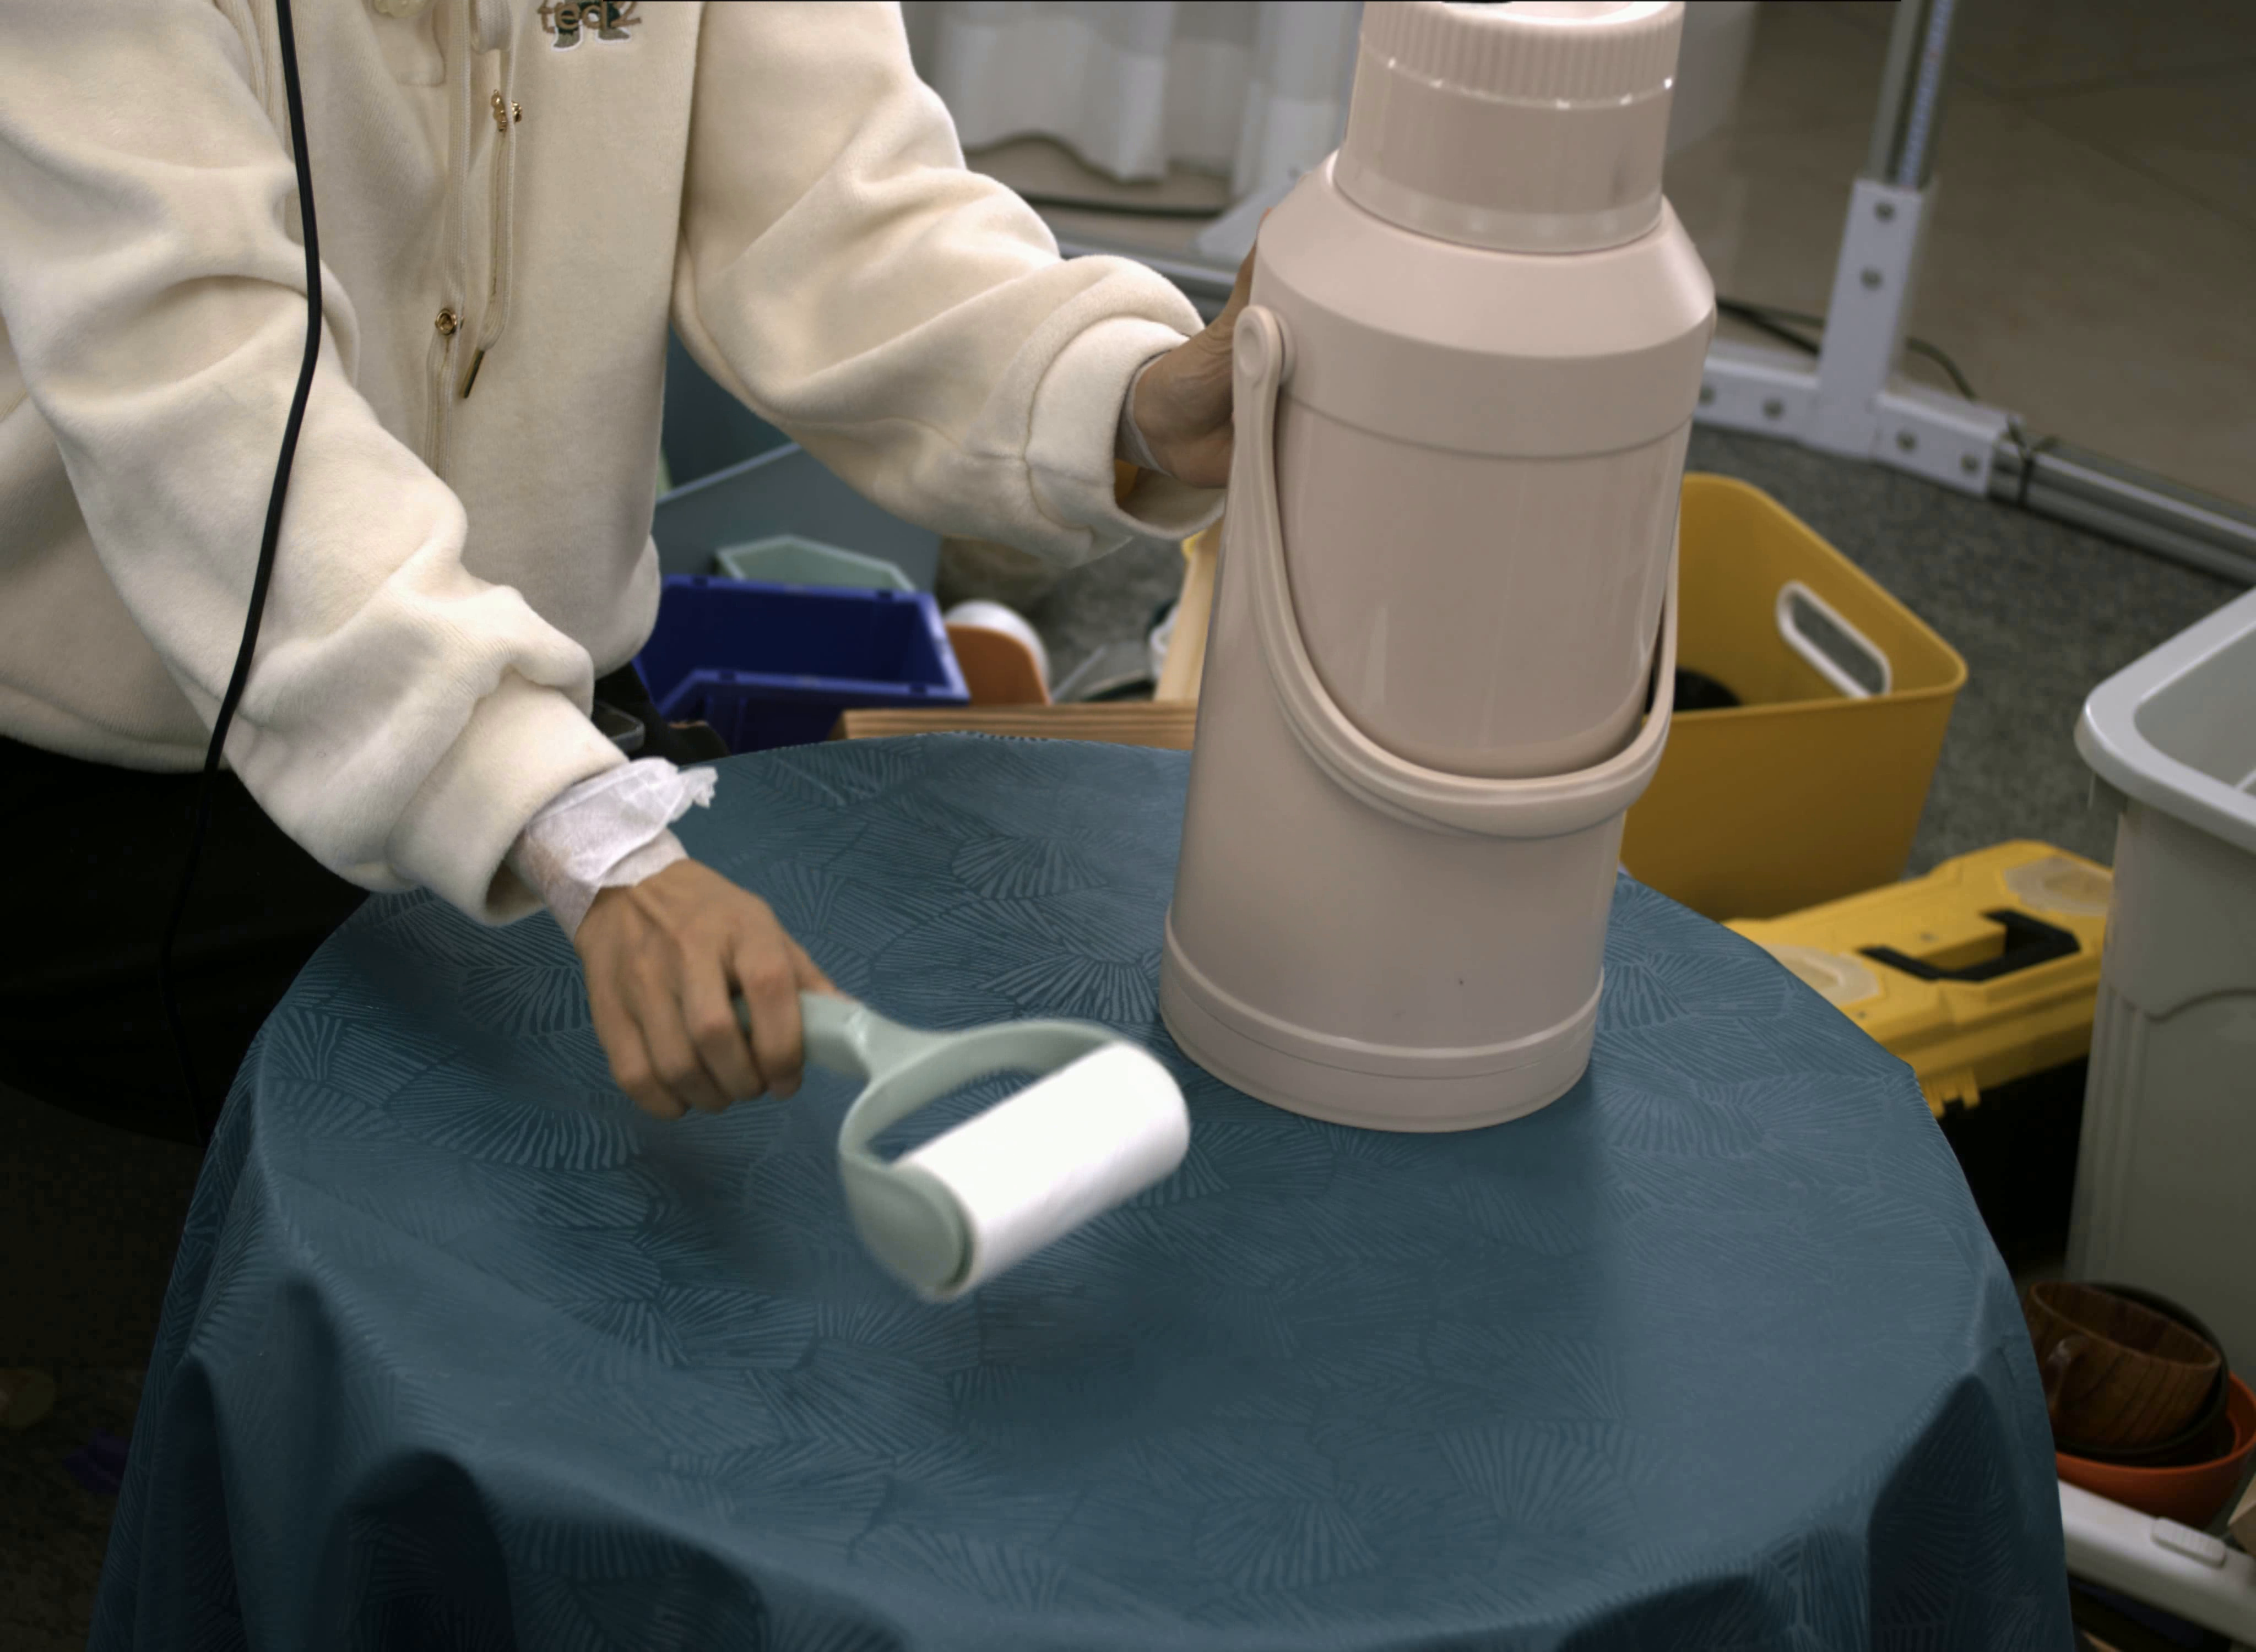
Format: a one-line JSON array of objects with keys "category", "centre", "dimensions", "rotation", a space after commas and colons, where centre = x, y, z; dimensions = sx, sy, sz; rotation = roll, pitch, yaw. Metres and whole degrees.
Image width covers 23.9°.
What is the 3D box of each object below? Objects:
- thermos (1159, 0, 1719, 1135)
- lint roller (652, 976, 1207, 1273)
[{"category": "thermos", "centre": [0.106, -0.110, 1.849], "dimensions": [0.174, 0.405, 0.209], "rotation": [-7, 29, -25]}, {"category": "lint roller", "centre": [-0.079, 0.077, 1.725], "dimensions": [0.199, 0.048, 0.116], "rotation": [23, 36, 36]}]
